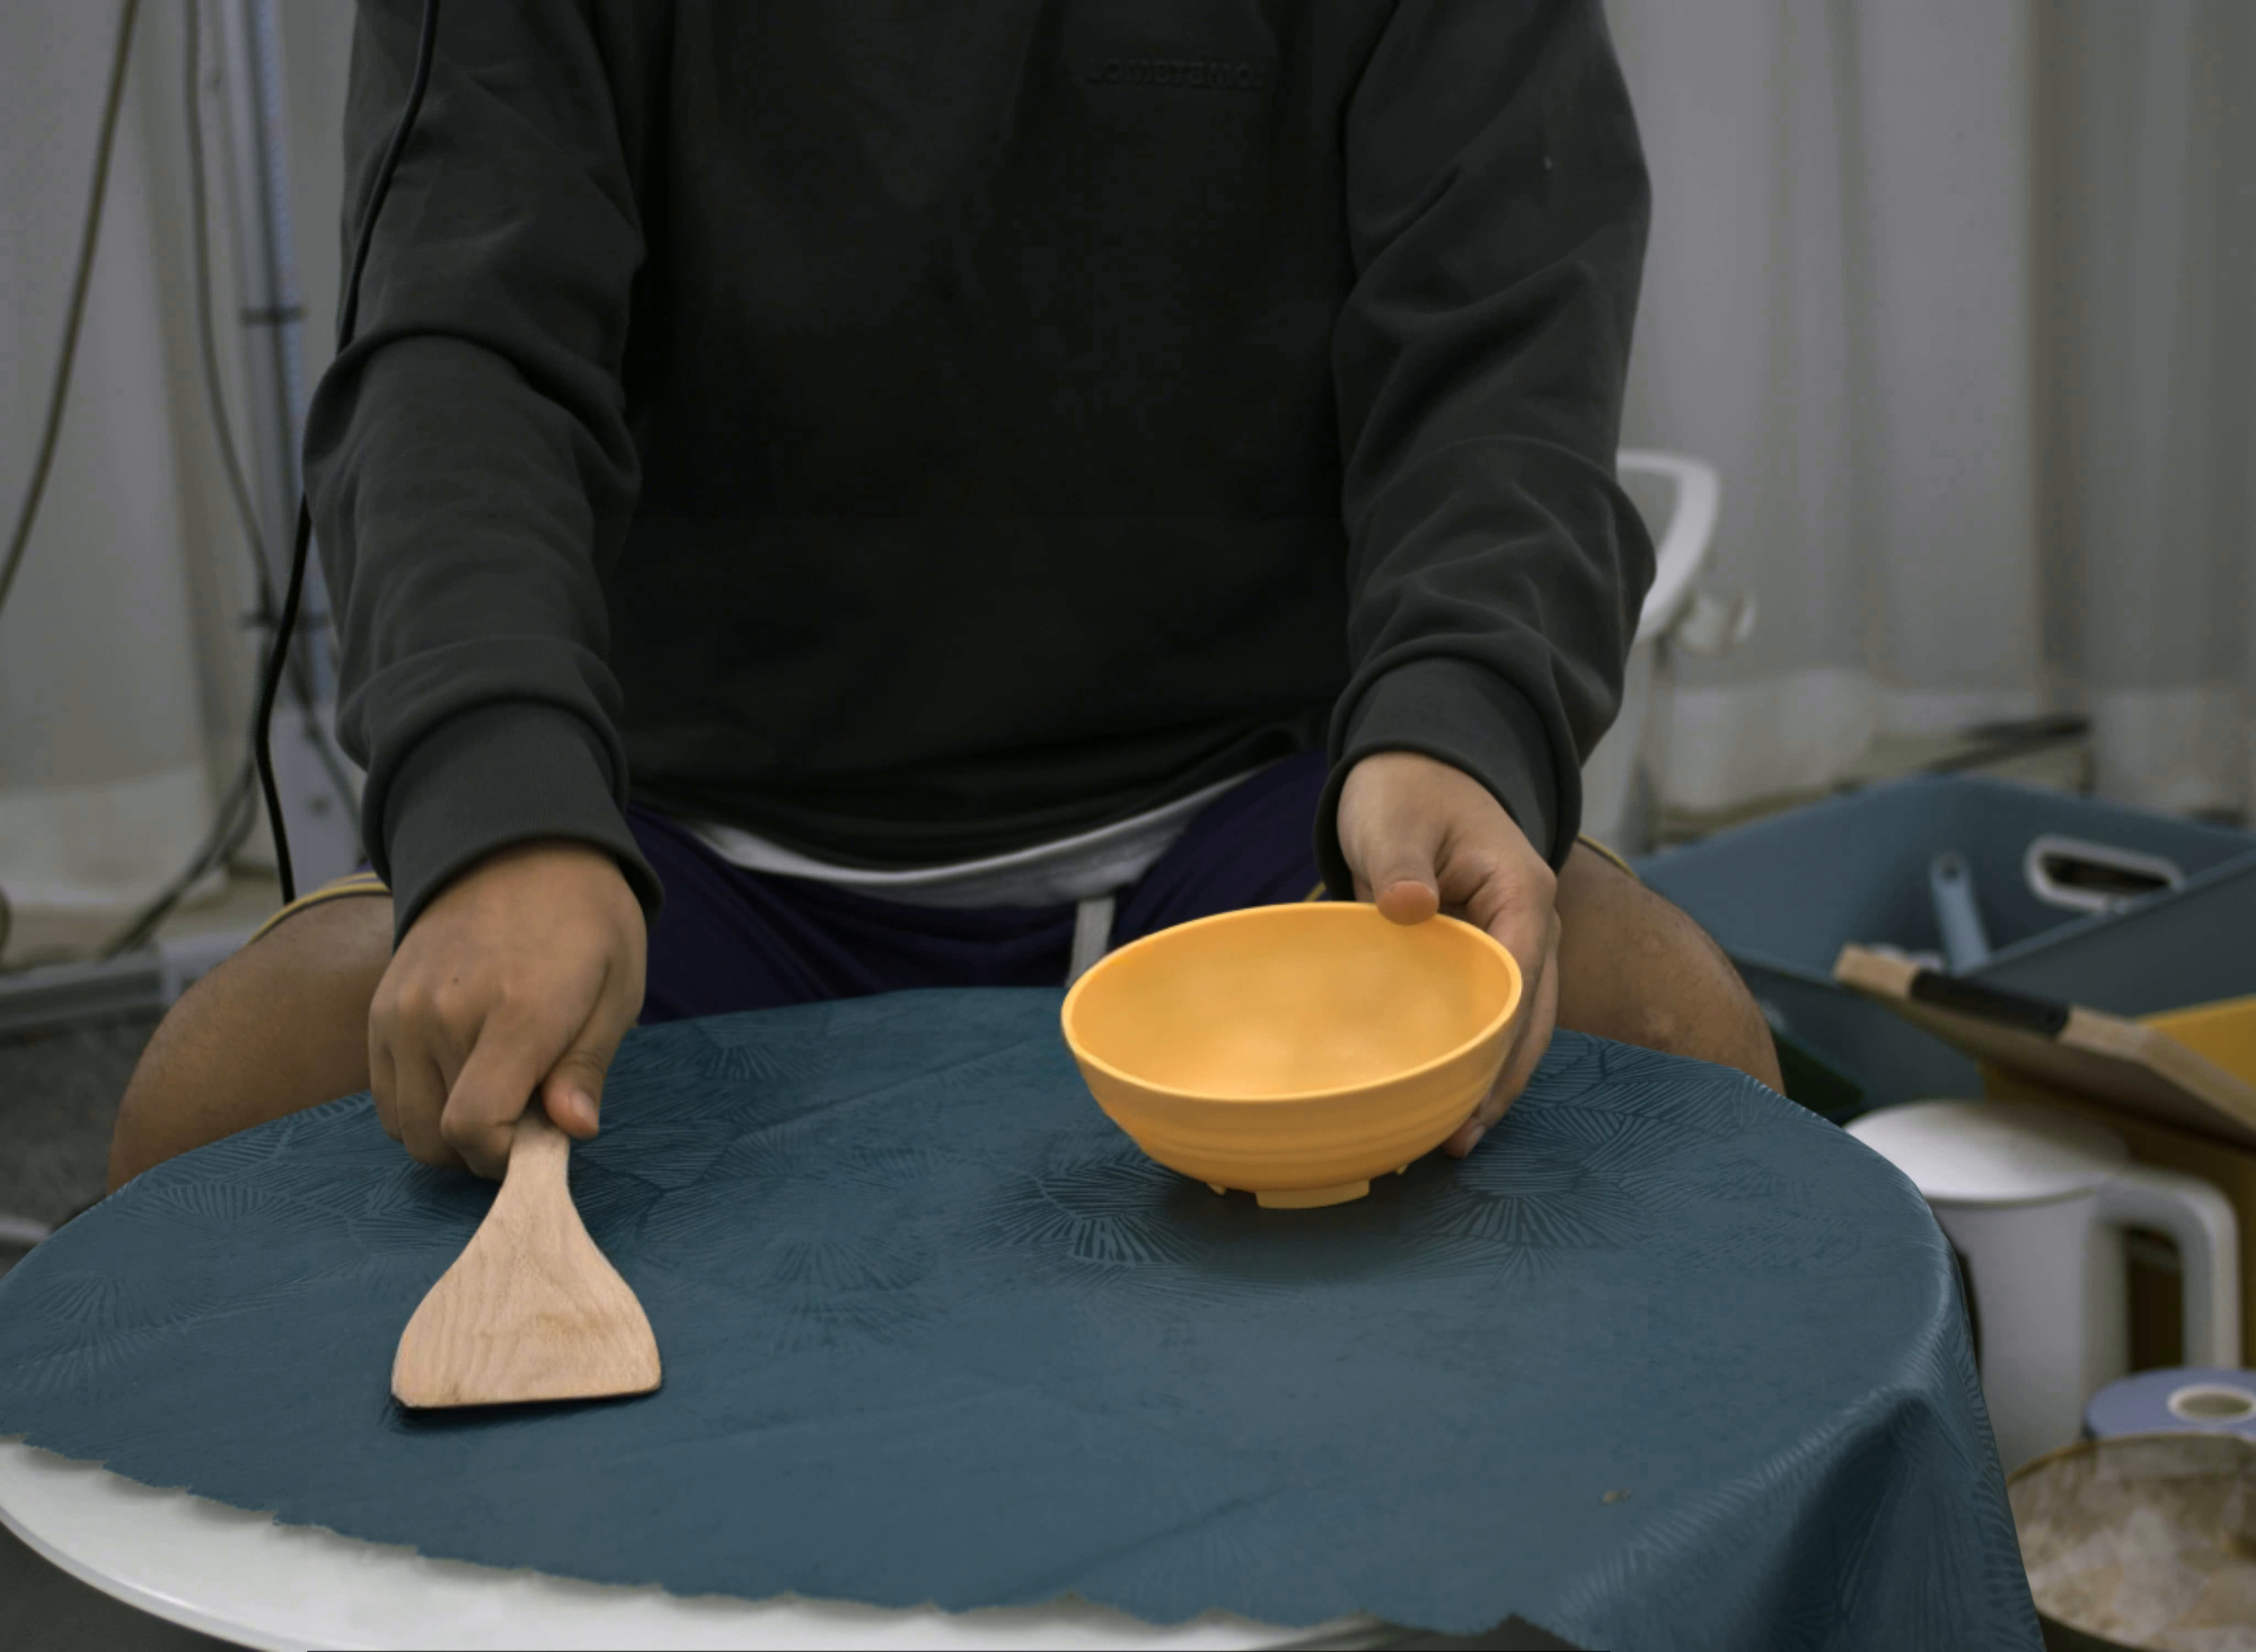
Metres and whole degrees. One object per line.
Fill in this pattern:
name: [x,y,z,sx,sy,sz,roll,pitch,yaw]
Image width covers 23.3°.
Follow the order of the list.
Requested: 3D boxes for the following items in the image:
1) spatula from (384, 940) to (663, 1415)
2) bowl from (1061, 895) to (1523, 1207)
spatula: [-0.181,0.104,1.694,0.079,0.016,0.331,-1,24,-3]
bowl: [0.053,0.078,1.713,0.145,0.059,0.147,-4,23,1]
